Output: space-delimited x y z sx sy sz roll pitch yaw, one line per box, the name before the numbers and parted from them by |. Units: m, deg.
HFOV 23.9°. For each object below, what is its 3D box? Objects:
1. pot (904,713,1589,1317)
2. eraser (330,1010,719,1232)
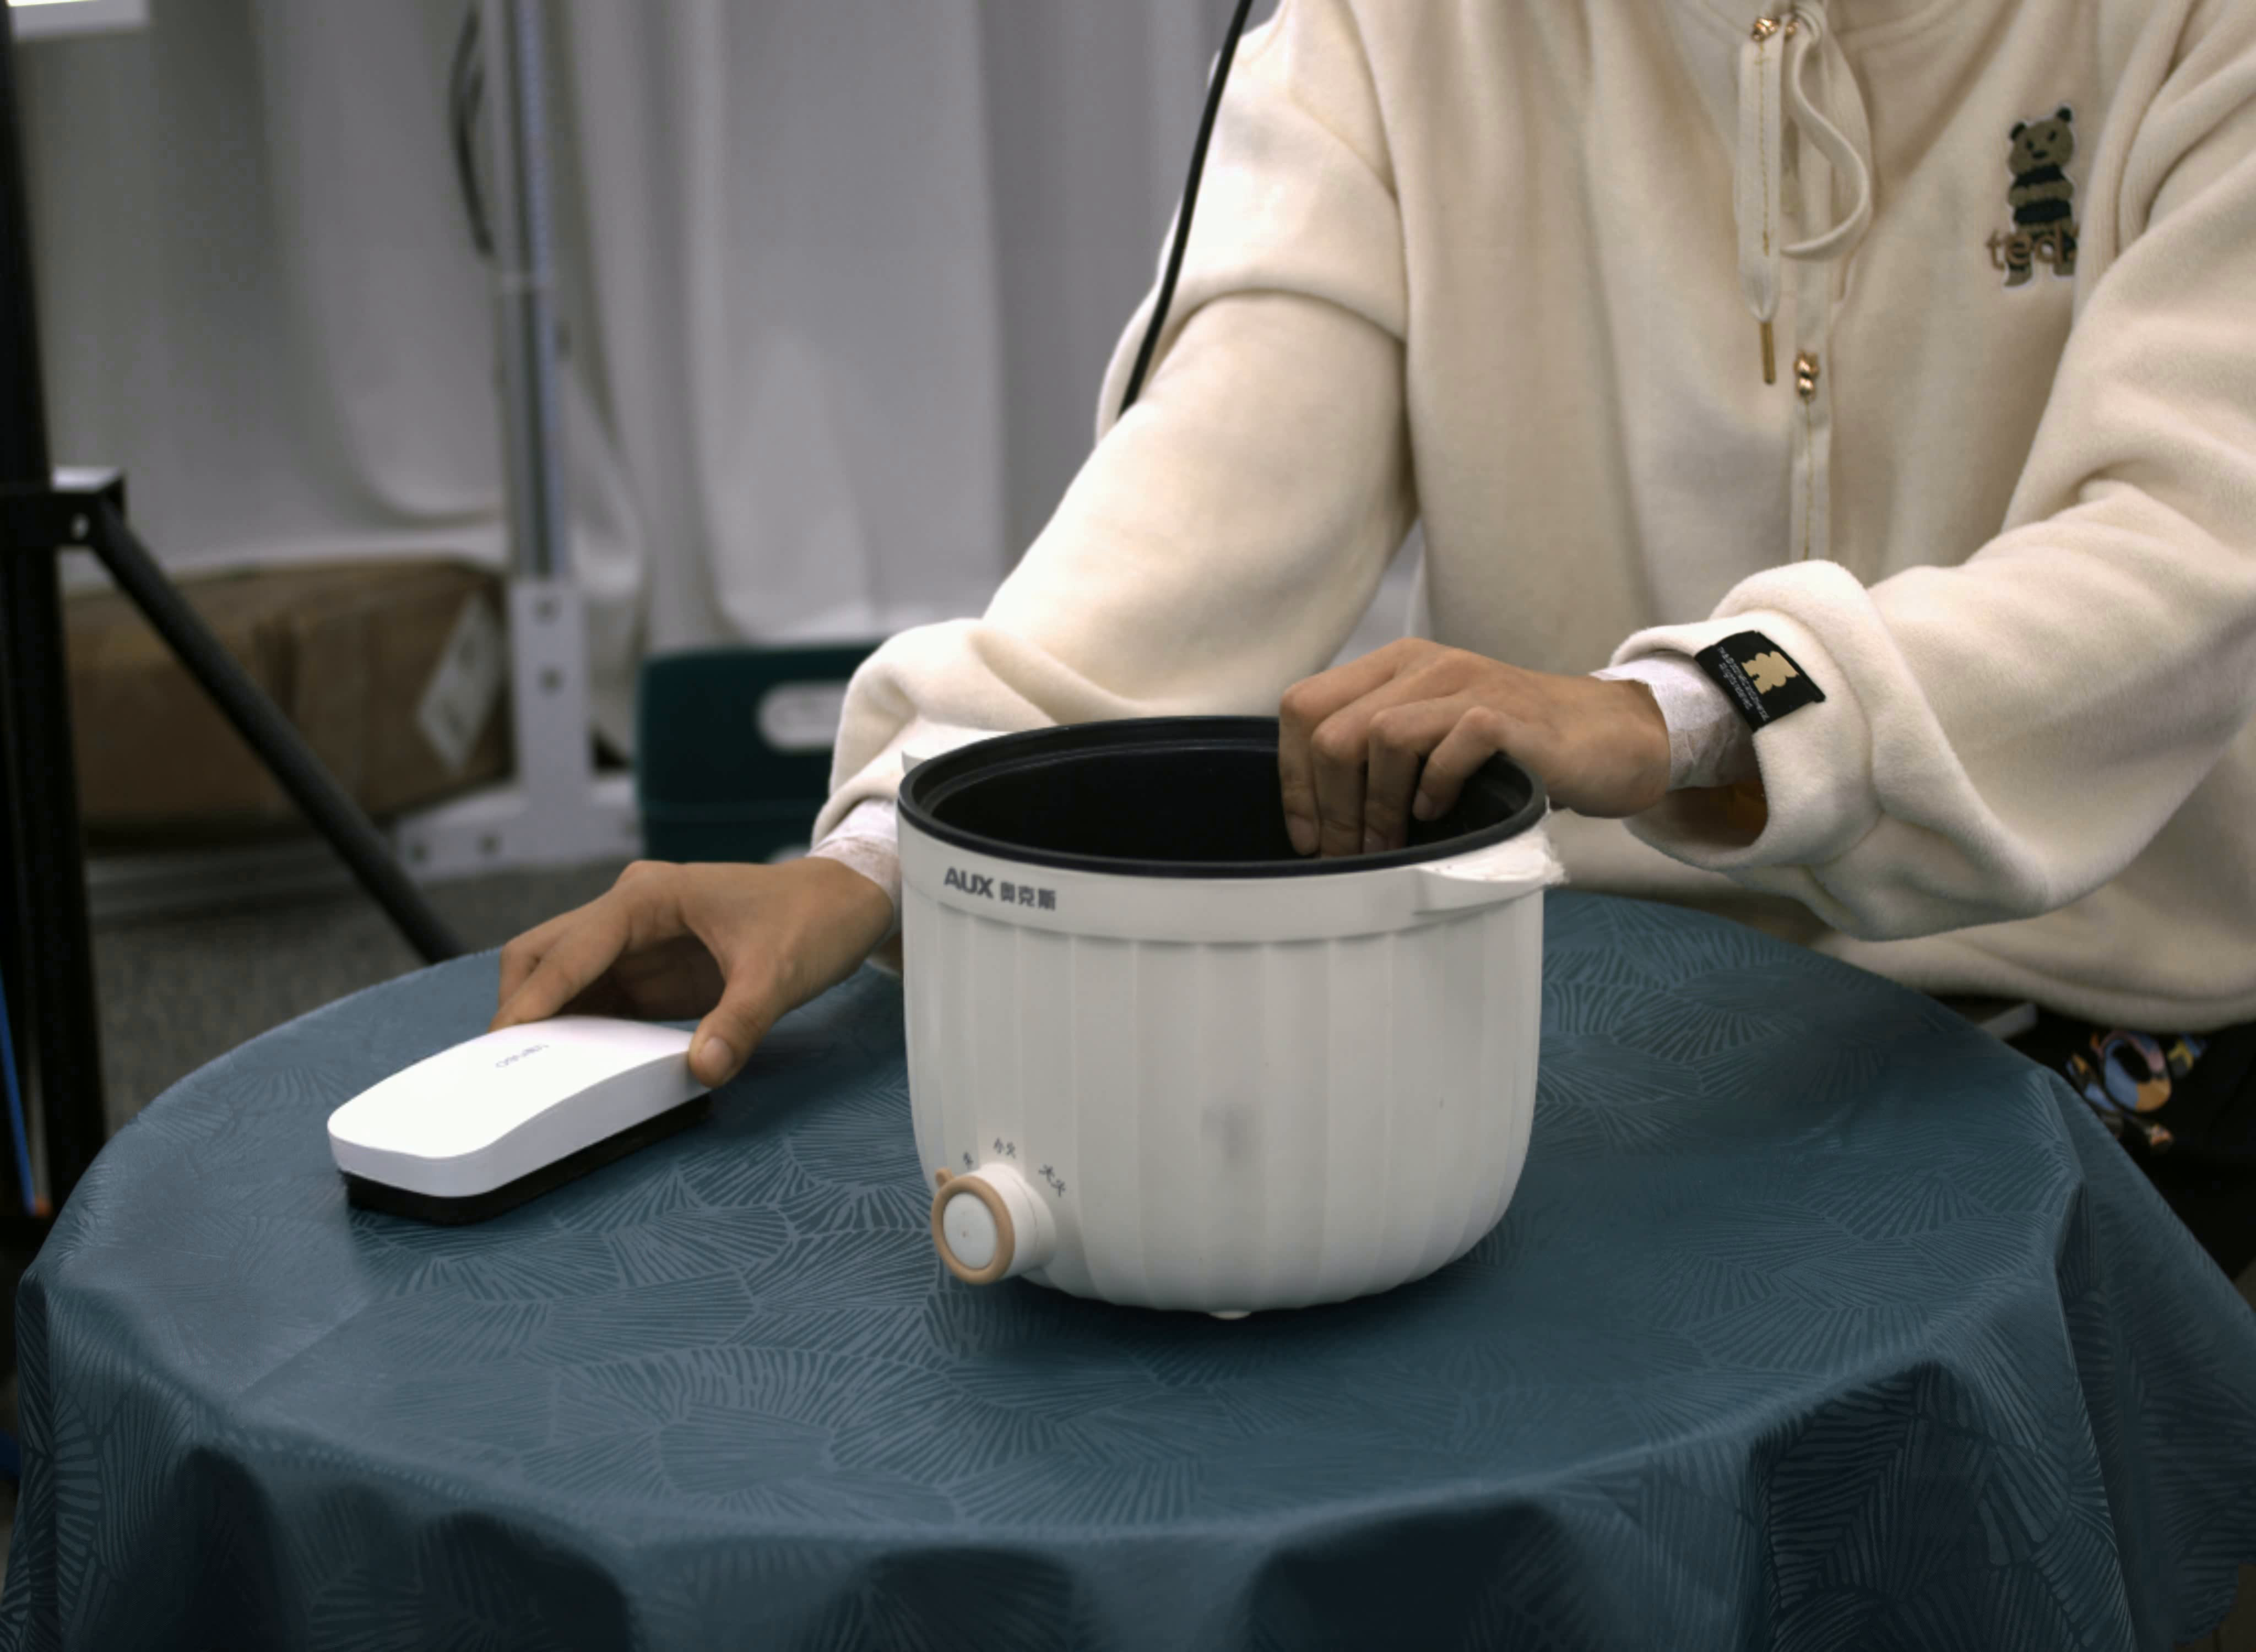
pot | 0.025 0.054 1.480 0.246 0.143 0.186 11 14 43
eraser | -0.180 0.085 1.611 0.064 0.034 0.129 11 21 33
